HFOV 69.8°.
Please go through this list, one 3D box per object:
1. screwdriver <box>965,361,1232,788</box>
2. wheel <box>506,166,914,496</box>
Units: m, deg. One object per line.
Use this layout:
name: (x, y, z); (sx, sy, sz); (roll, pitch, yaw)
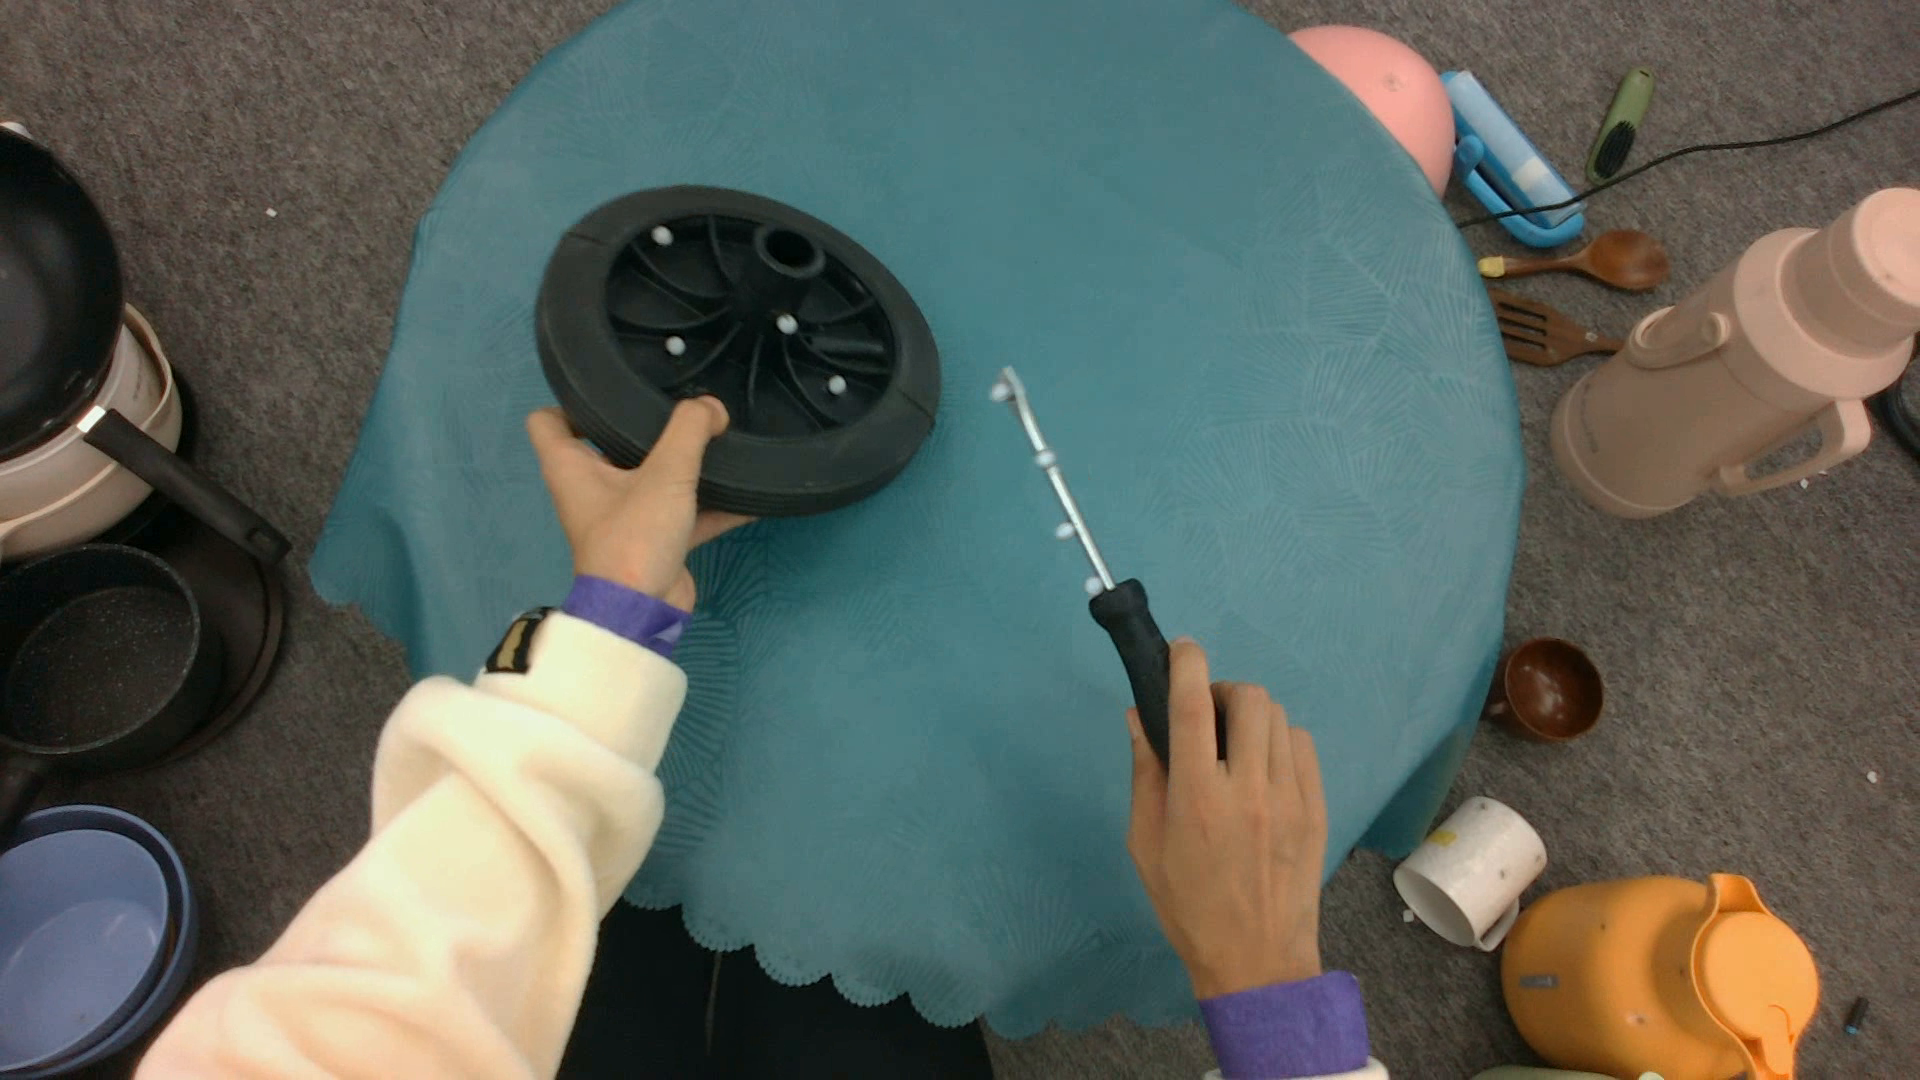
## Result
screwdriver: (0.055, 0.011, 0.558); (0.031, 0.031, 0.198); (-28, 90, -17)
wheel: (-0.101, -0.112, 0.618); (0.190, 0.078, 0.187); (-25, 70, -40)
